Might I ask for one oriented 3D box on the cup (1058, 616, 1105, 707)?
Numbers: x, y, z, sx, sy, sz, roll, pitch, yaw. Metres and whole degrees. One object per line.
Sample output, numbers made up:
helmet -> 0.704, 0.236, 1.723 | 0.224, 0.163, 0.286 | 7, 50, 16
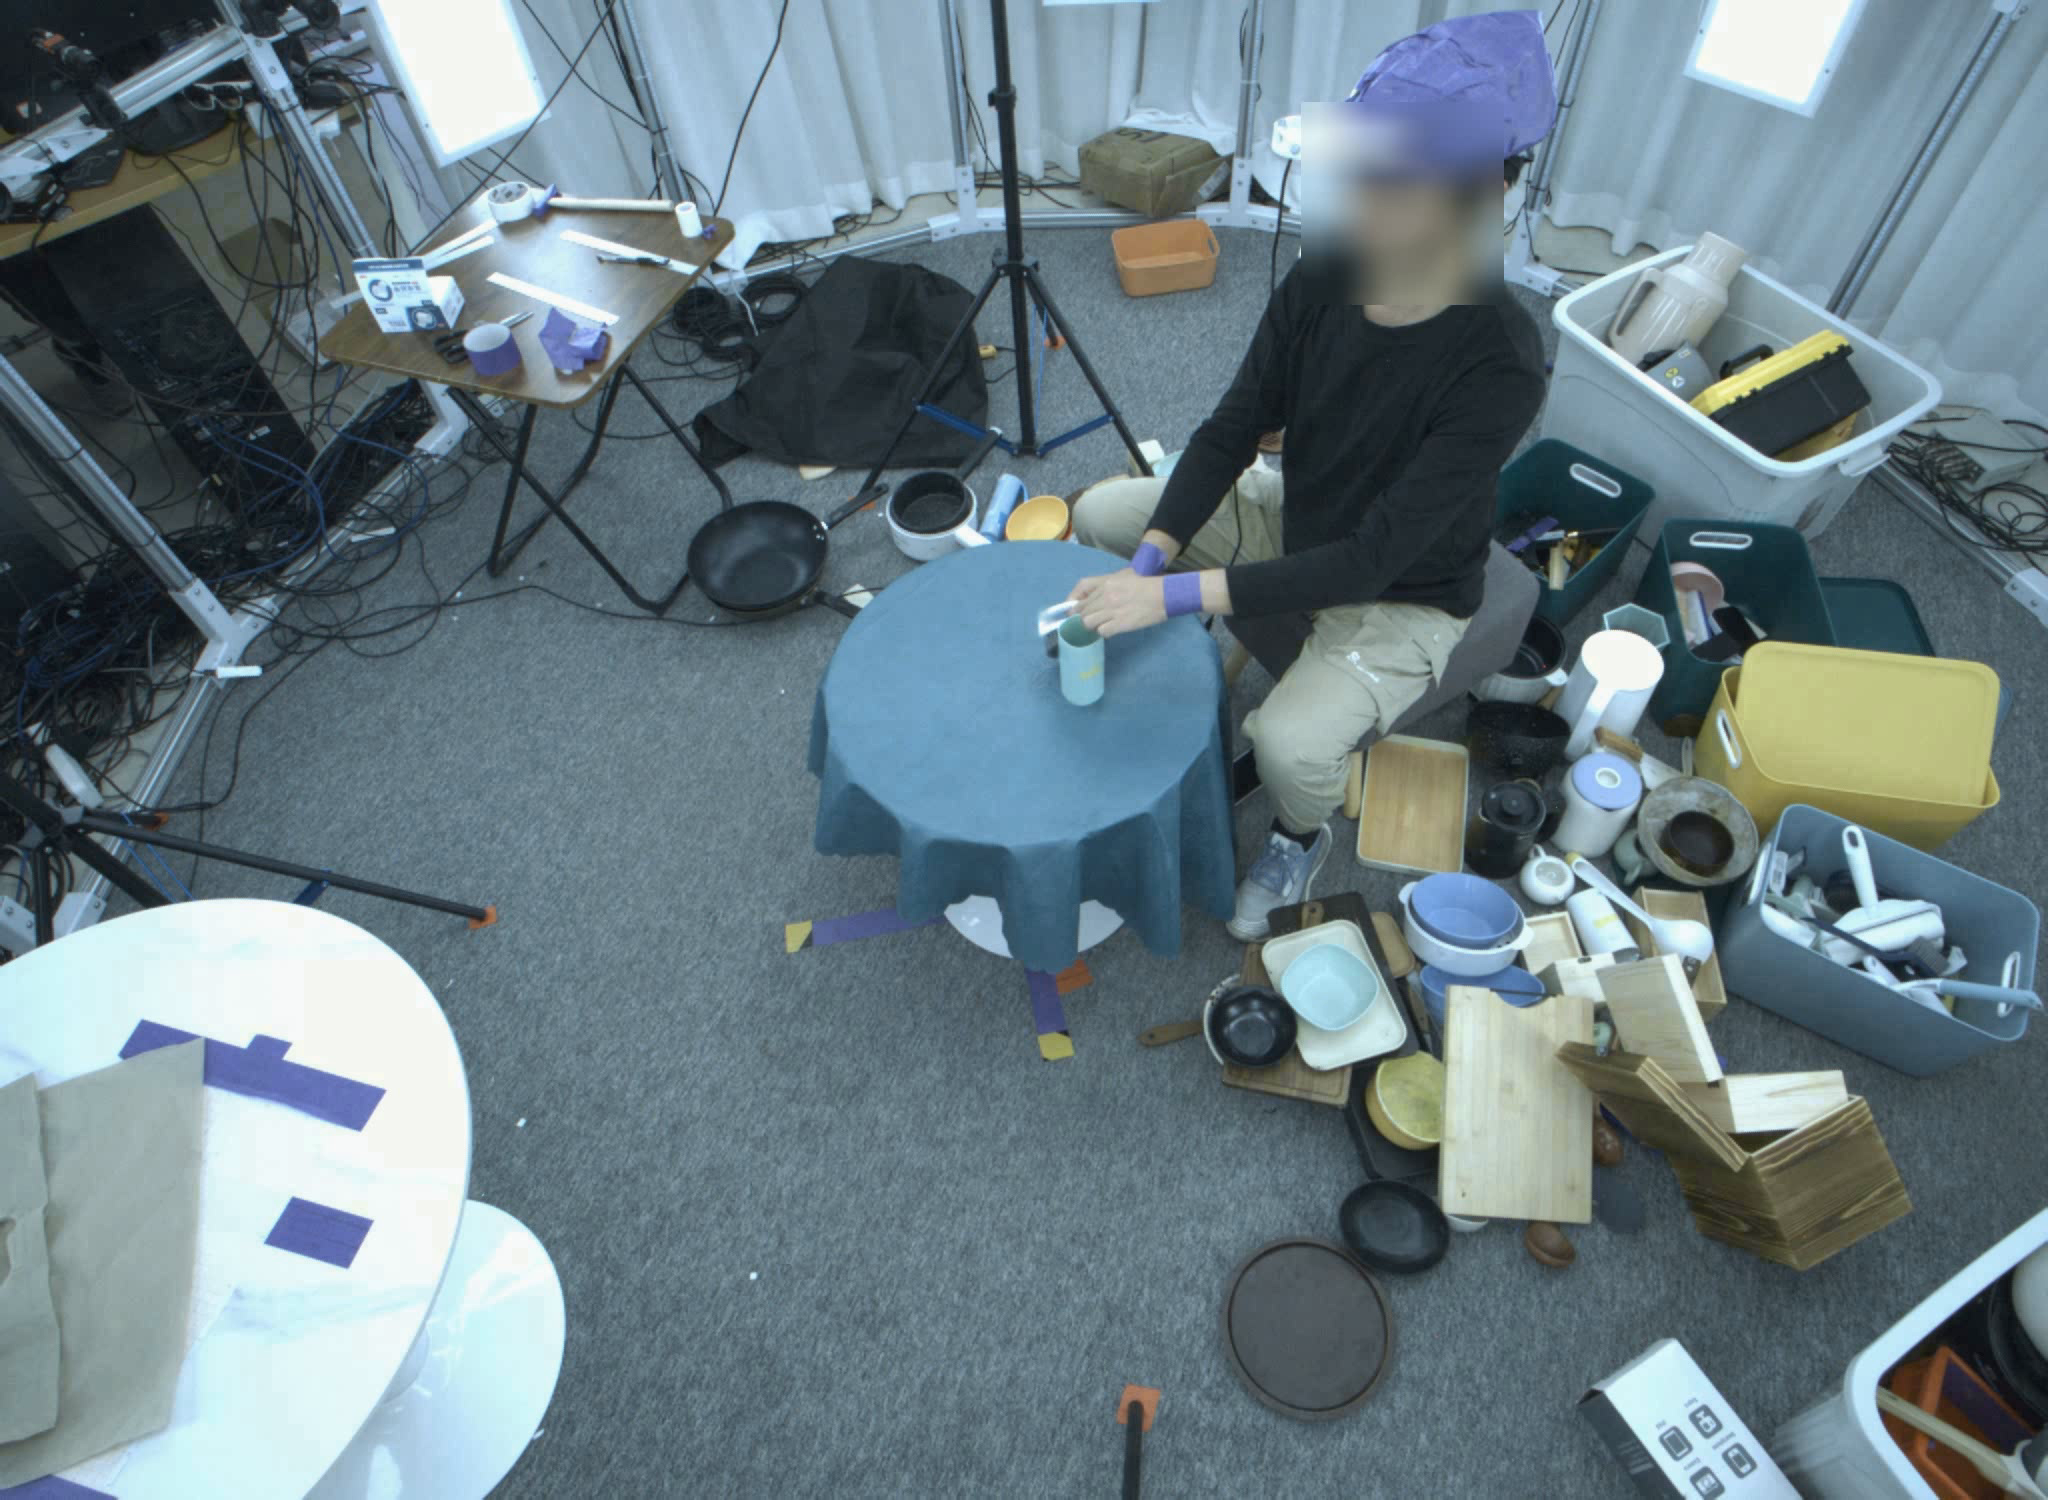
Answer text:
cup -> 0.085, -0.129, 1.802 | 0.066, 0.134, 0.066 | -2, 54, 4

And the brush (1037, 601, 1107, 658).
brush -> 0.066, -0.187, 1.836 | 0.099, 0.050, 0.071 | -17, 68, -6
